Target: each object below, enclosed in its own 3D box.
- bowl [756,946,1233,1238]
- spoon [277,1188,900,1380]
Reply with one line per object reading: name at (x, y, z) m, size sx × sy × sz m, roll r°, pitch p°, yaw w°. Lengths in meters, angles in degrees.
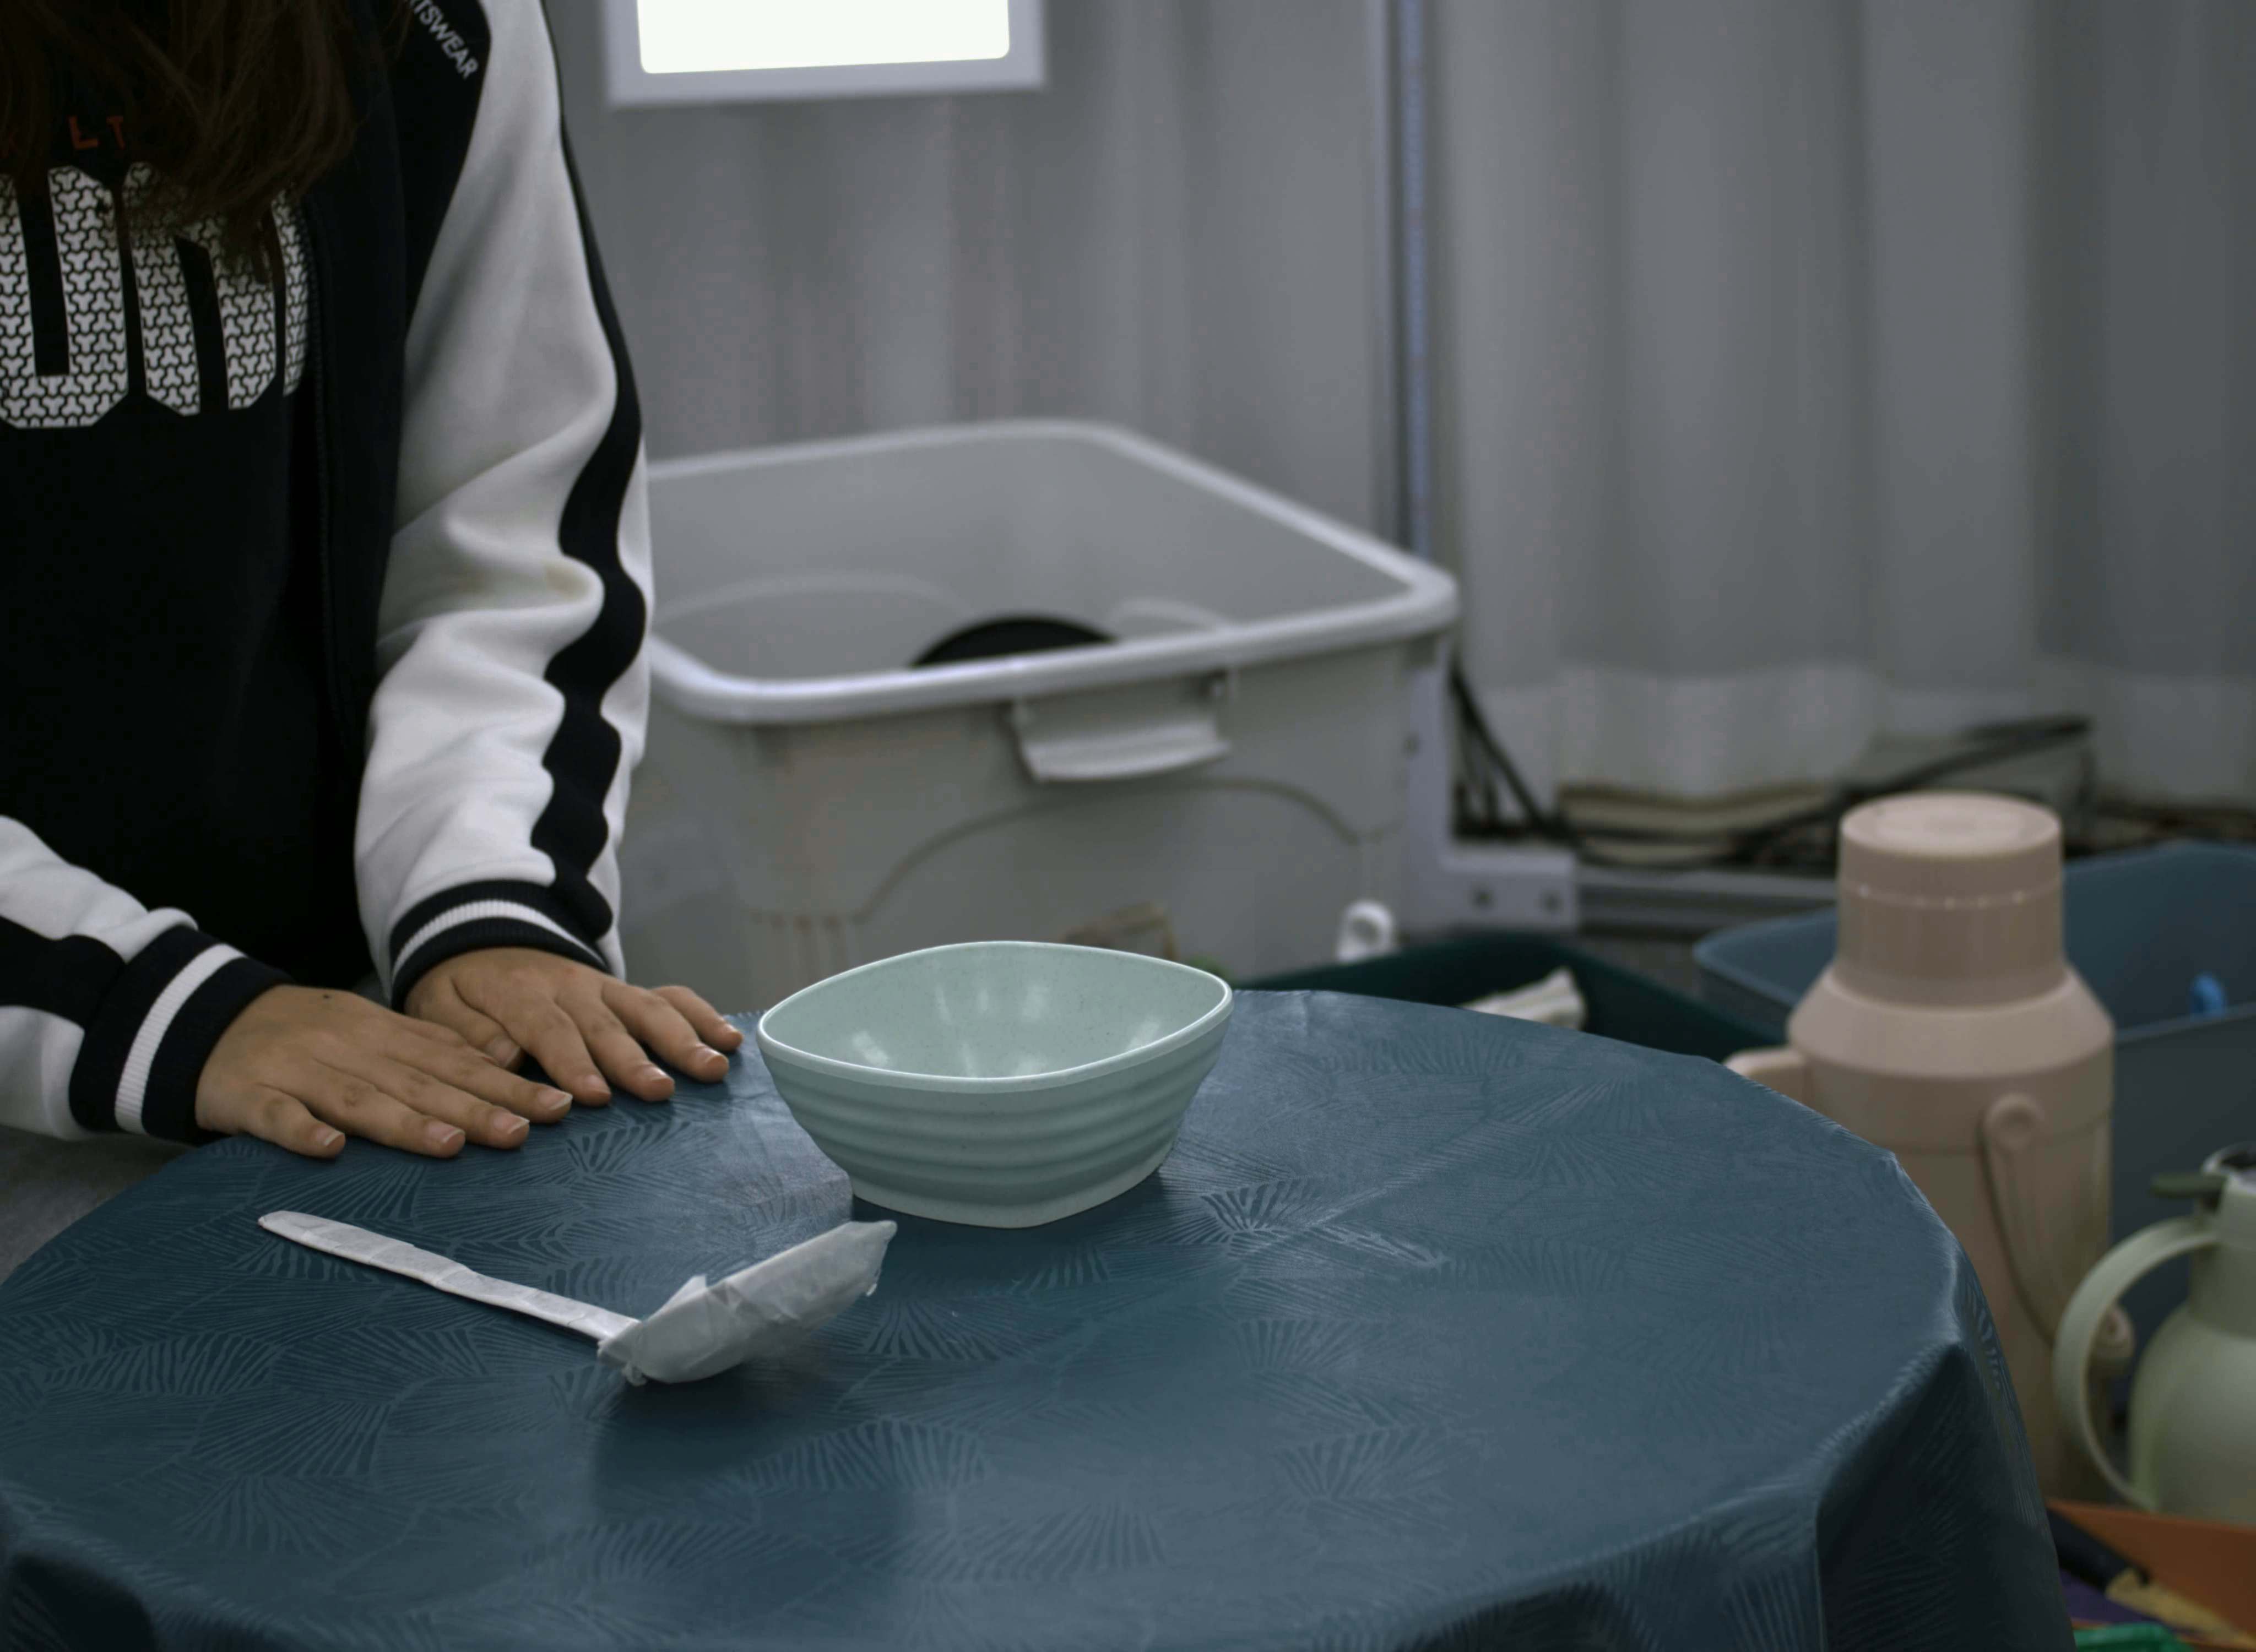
bowl at (-0.041, 0.087, 1.726) m, size 0.151 × 0.058 × 0.152 m, roll -3°, pitch 15°, yaw 0°
spoon at (-0.171, 0.116, 1.631) m, size 0.100 × 0.059 × 0.279 m, roll -10°, pitch 16°, yaw -40°
